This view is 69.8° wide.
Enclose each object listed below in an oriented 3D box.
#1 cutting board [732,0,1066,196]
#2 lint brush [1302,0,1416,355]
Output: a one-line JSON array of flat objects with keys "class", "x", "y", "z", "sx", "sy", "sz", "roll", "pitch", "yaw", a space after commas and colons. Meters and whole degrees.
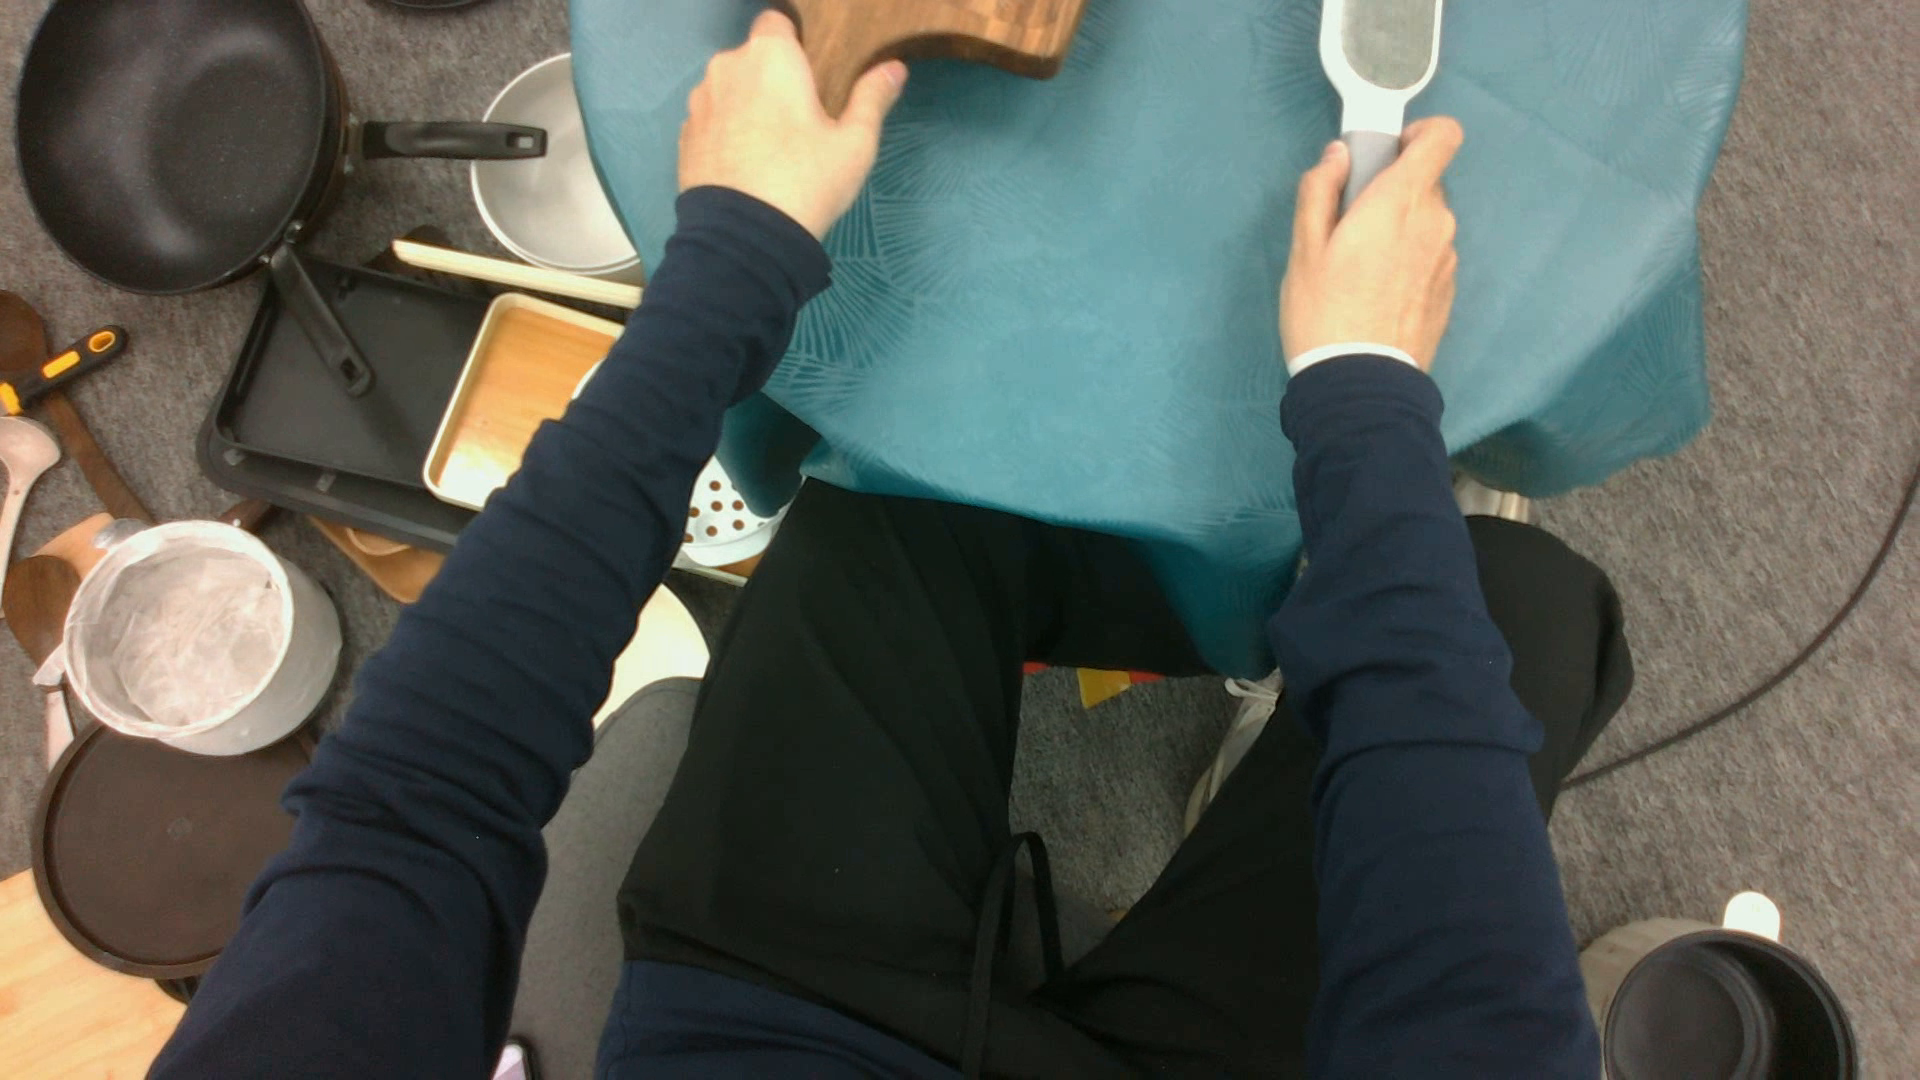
[{"class": "cutting board", "x": -0.034, "y": -0.317, "z": 0.665, "sx": 0.201, "sy": 0.023, "sz": 0.353, "roll": 18, "pitch": 72, "yaw": 4}, {"class": "lint brush", "x": 0.186, "y": -0.237, "z": 0.651, "sx": 0.060, "sy": 0.021, "sz": 0.309, "roll": 10, "pitch": 82, "yaw": -22}]
